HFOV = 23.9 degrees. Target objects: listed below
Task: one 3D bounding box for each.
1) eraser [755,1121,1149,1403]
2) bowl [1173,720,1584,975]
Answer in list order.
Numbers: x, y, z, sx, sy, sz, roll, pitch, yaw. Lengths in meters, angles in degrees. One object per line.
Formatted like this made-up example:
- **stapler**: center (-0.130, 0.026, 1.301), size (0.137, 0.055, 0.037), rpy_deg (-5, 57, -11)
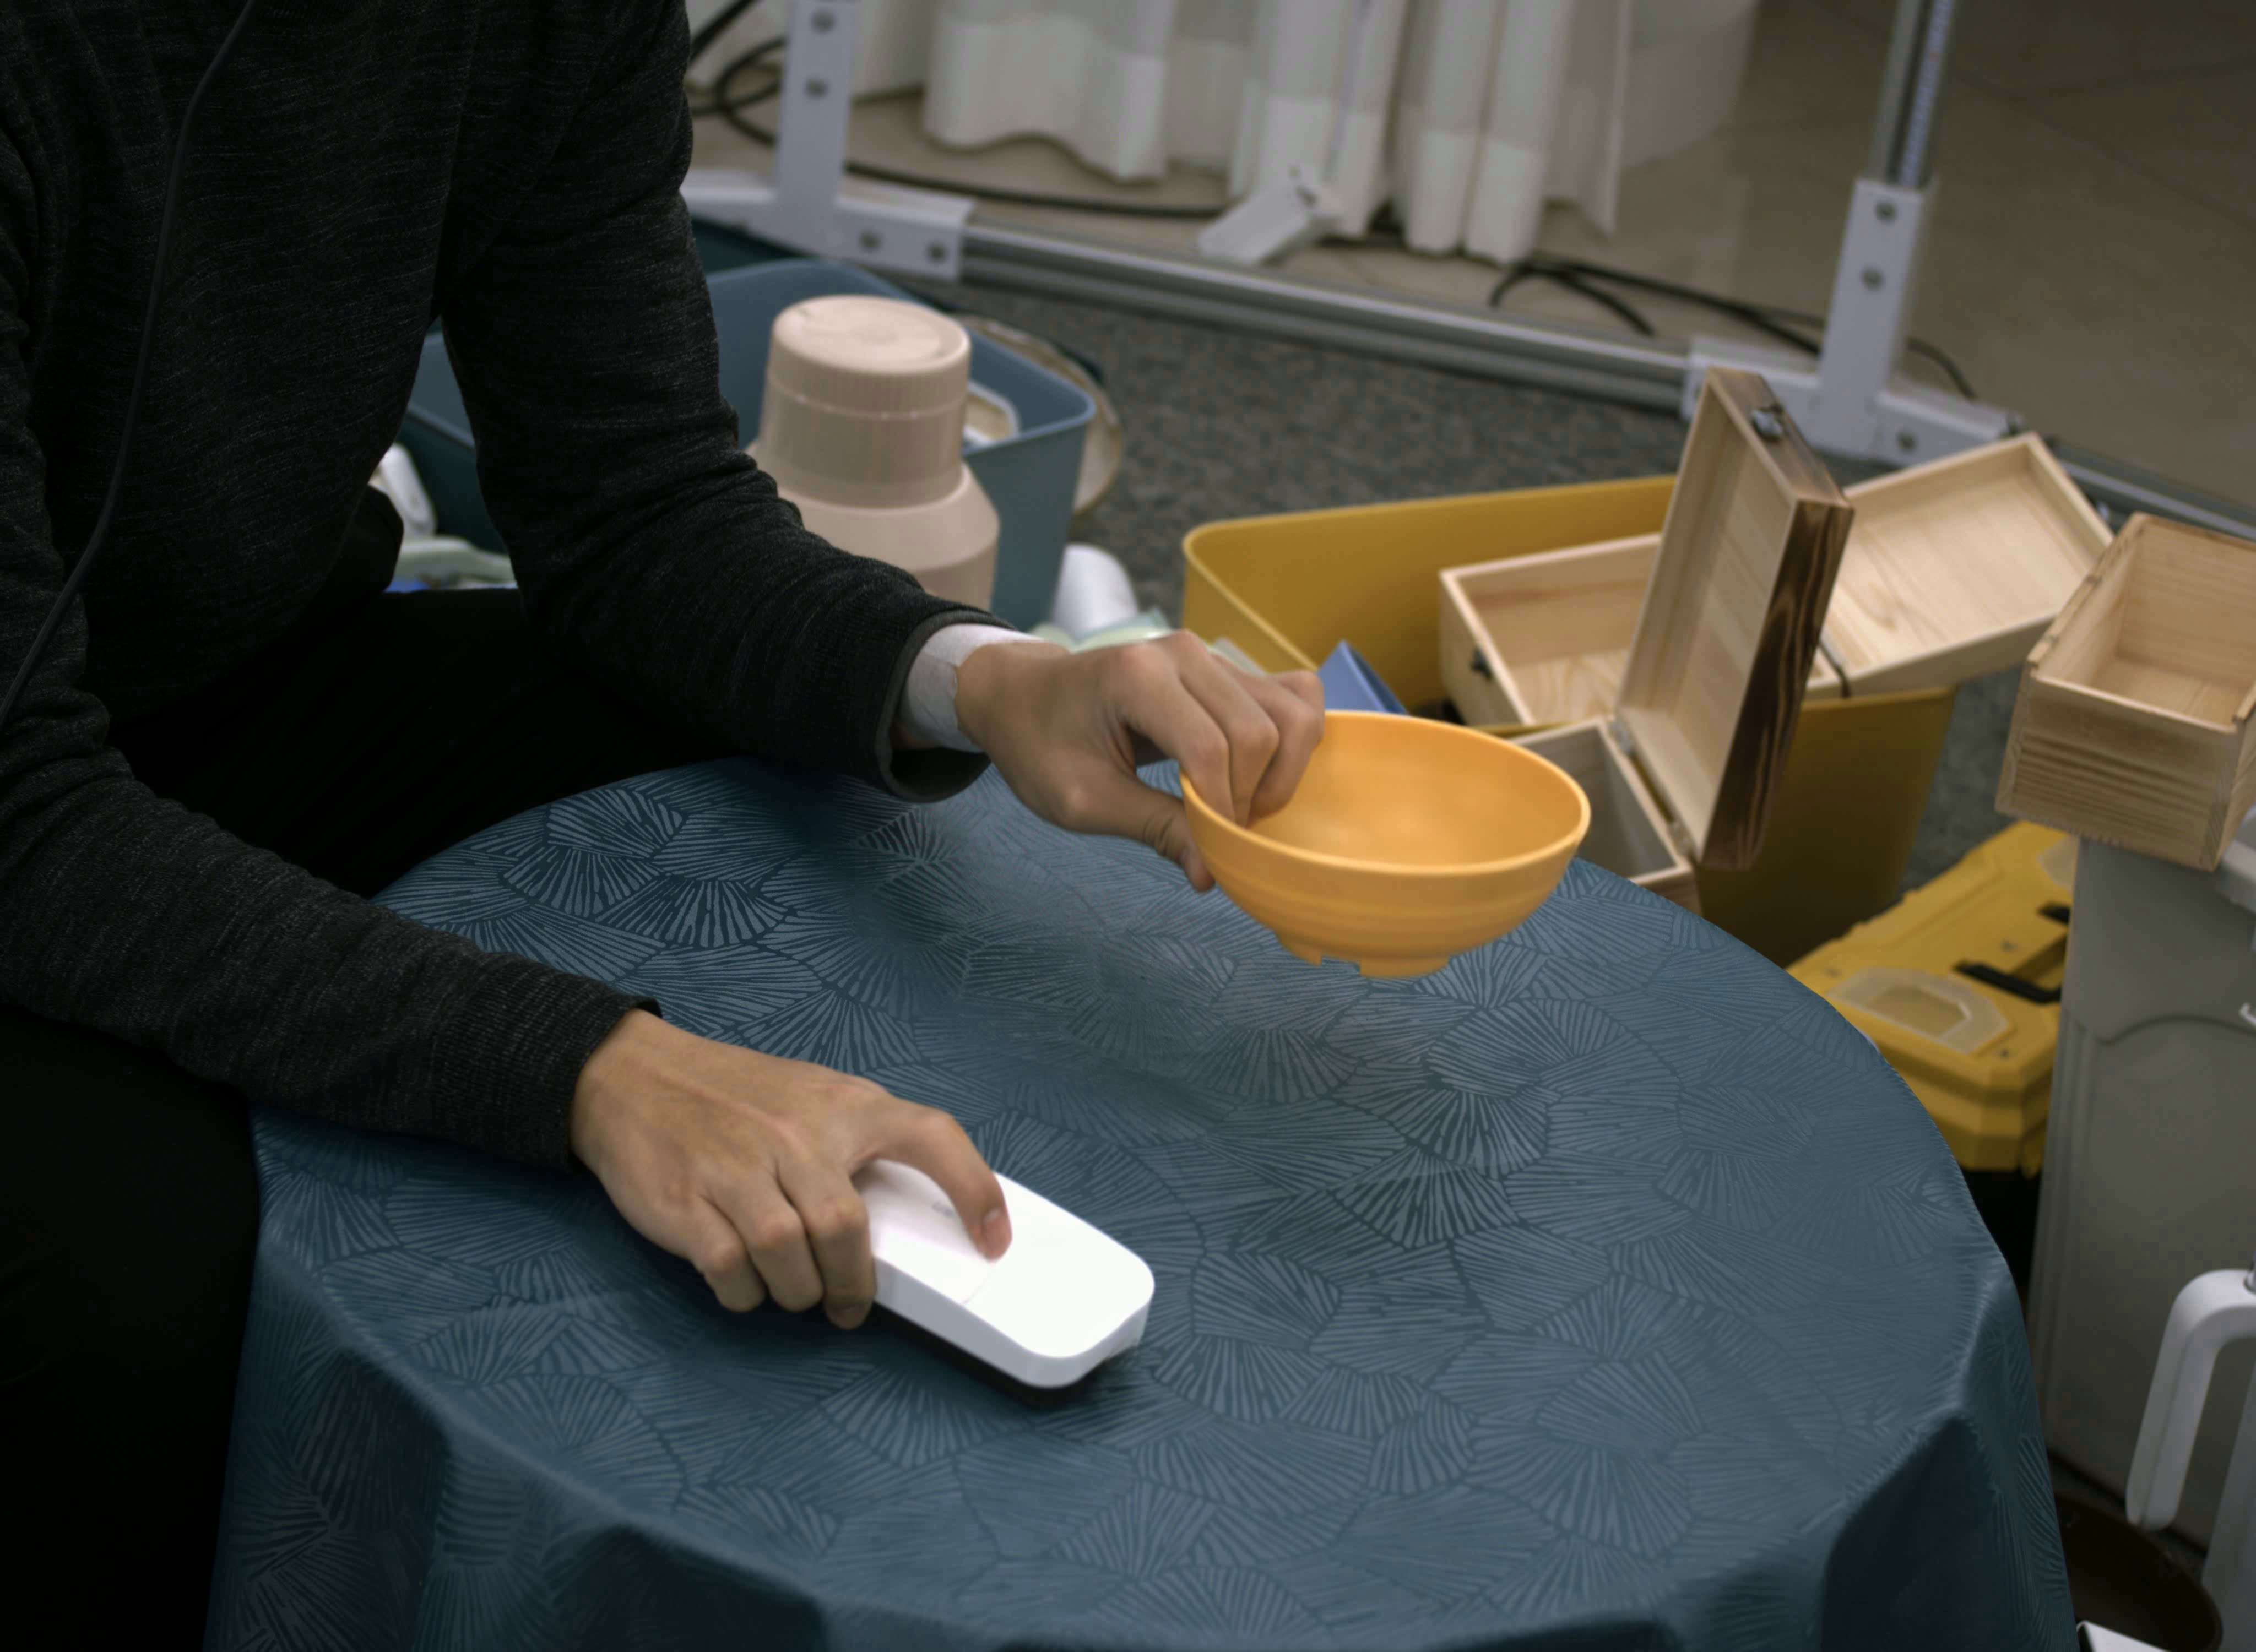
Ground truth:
- **eraser**: center (-0.057, 0.137, 1.711), size (0.132, 0.034, 0.063), rpy_deg (27, 39, 29)
- **bowl**: center (0.085, 0.013, 1.861), size (0.145, 0.060, 0.146), rpy_deg (4, 20, -2)
